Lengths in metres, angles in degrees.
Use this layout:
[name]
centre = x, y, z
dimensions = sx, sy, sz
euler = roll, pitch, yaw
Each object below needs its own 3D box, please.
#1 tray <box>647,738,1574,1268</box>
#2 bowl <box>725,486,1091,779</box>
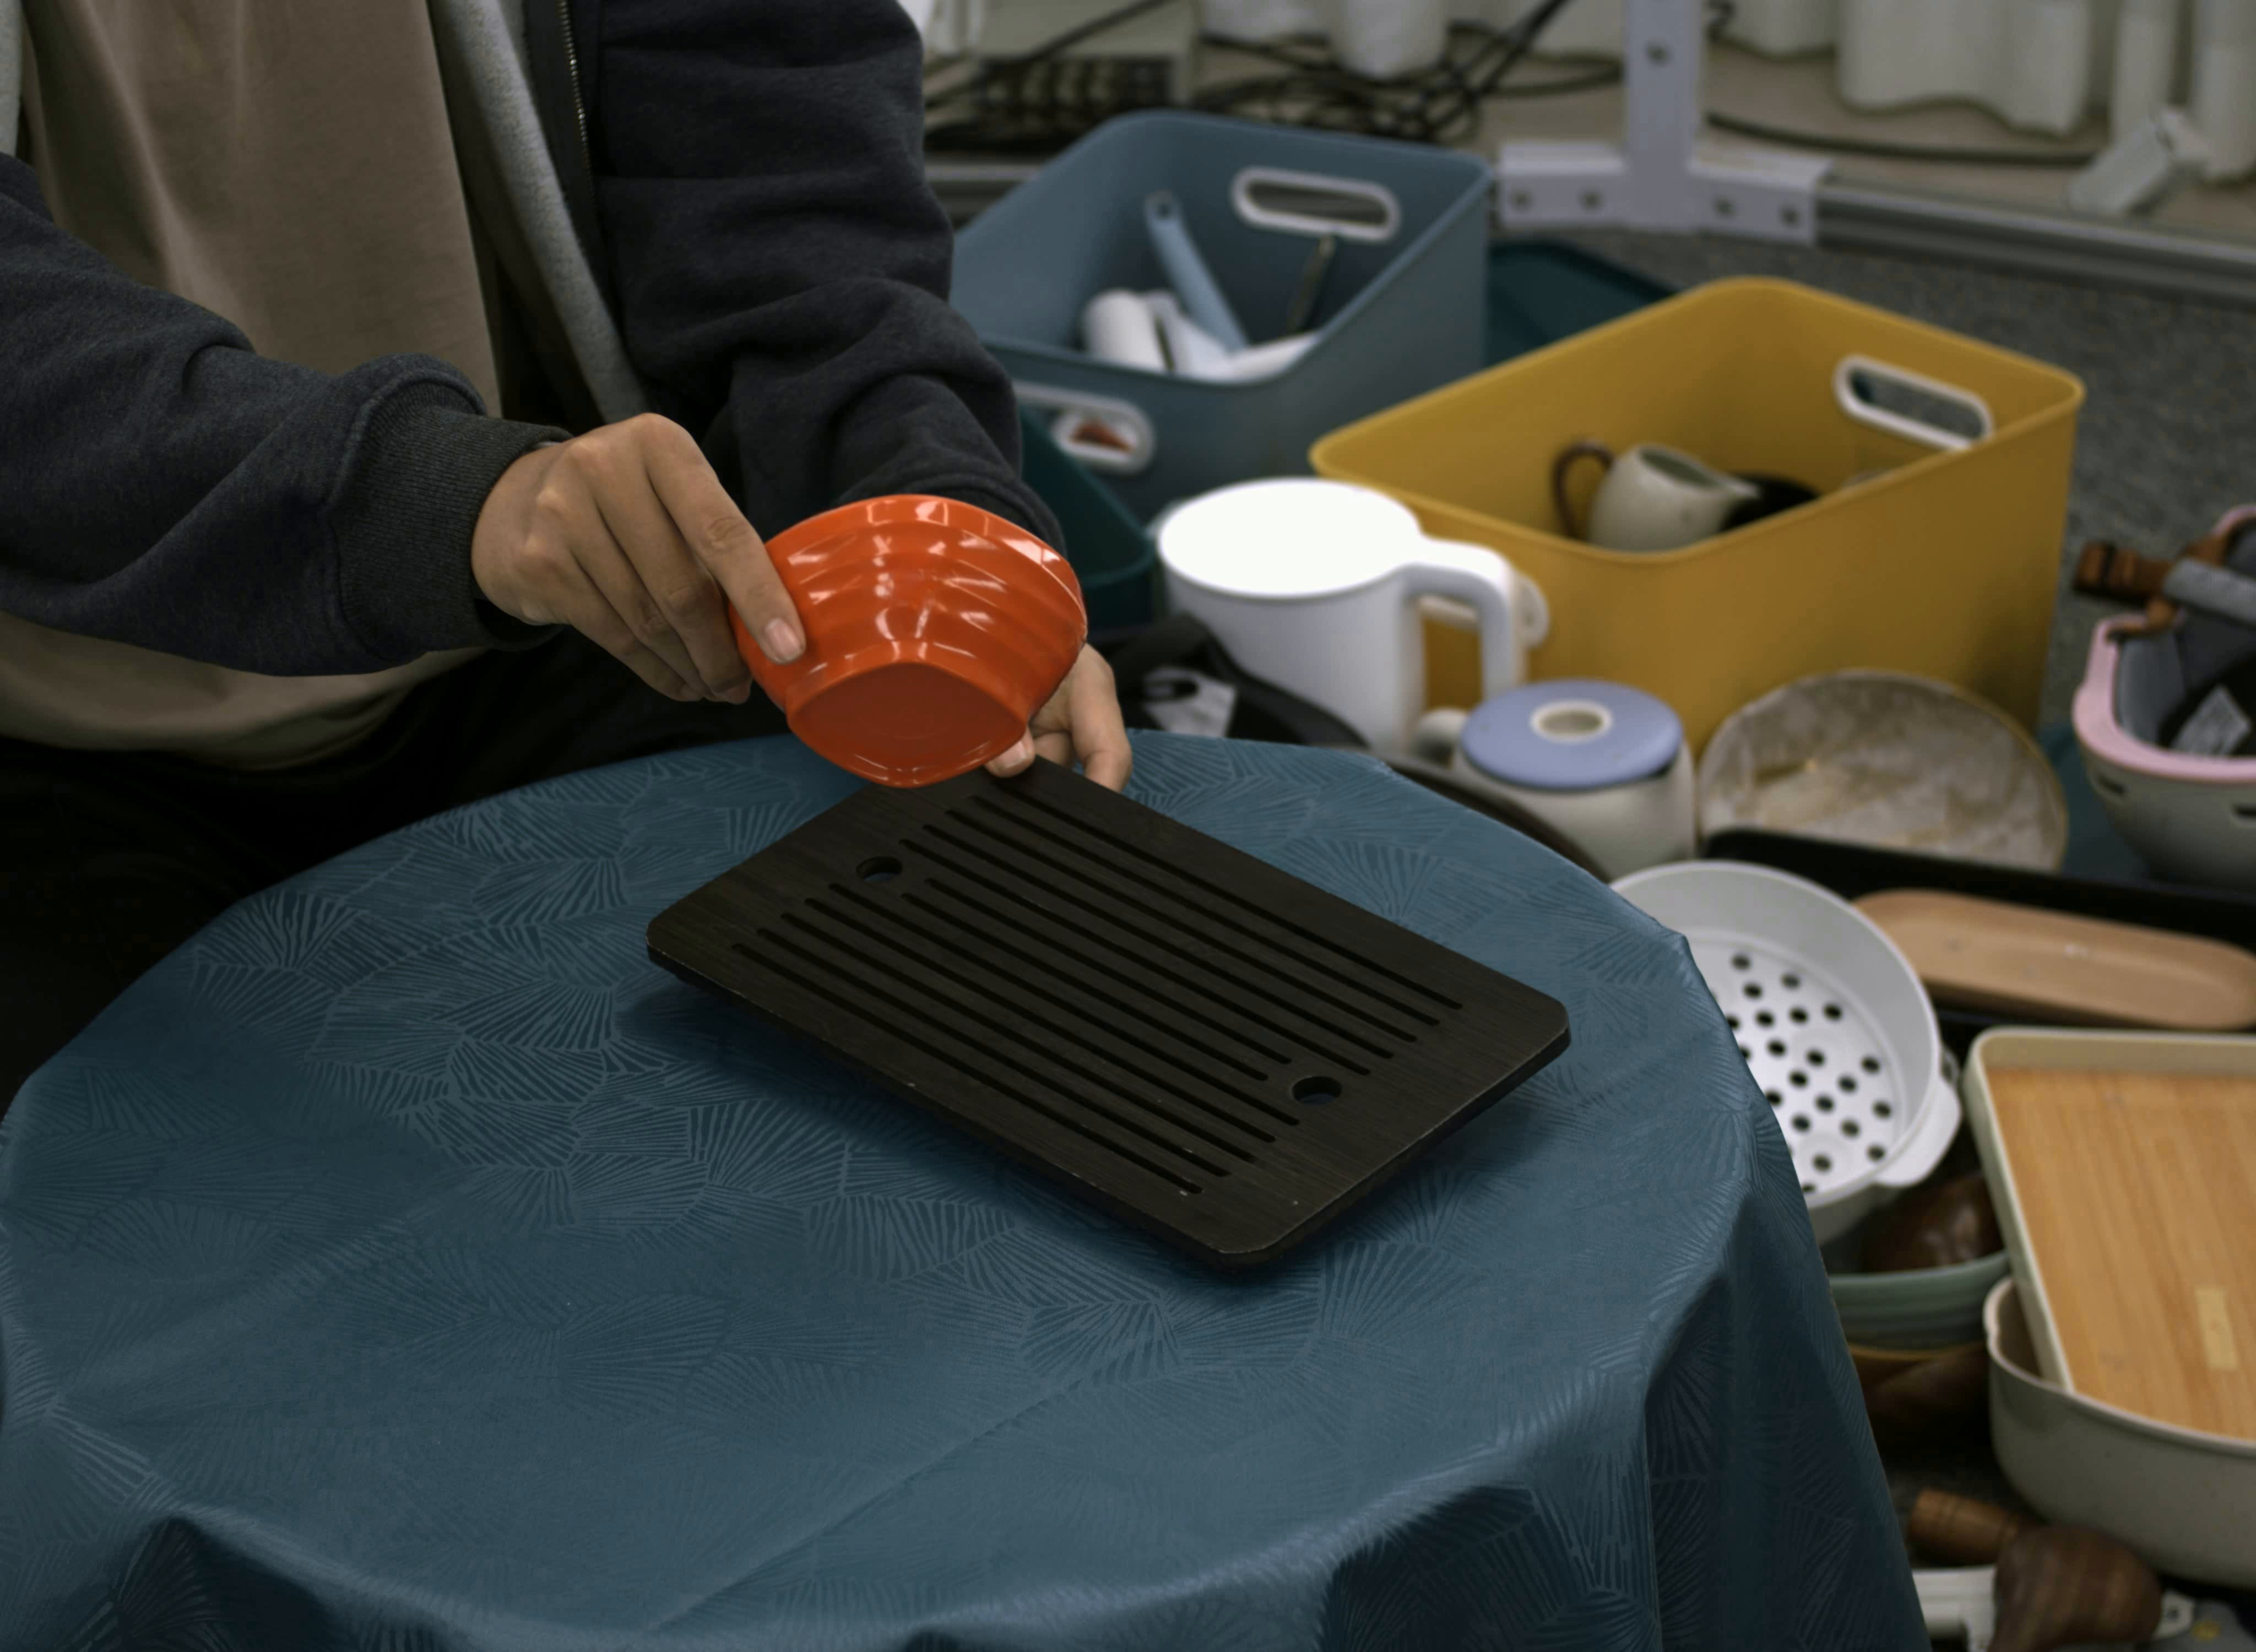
[tray]
centre = -0.009, 0.057, 1.940
dimensions = 0.305, 0.018, 0.172
euler = 25, 44, 39
[bowl]
centre = -0.071, -0.055, 1.809
dimensions = 0.118, 0.117, 0.052
euler = -2, 59, 2
